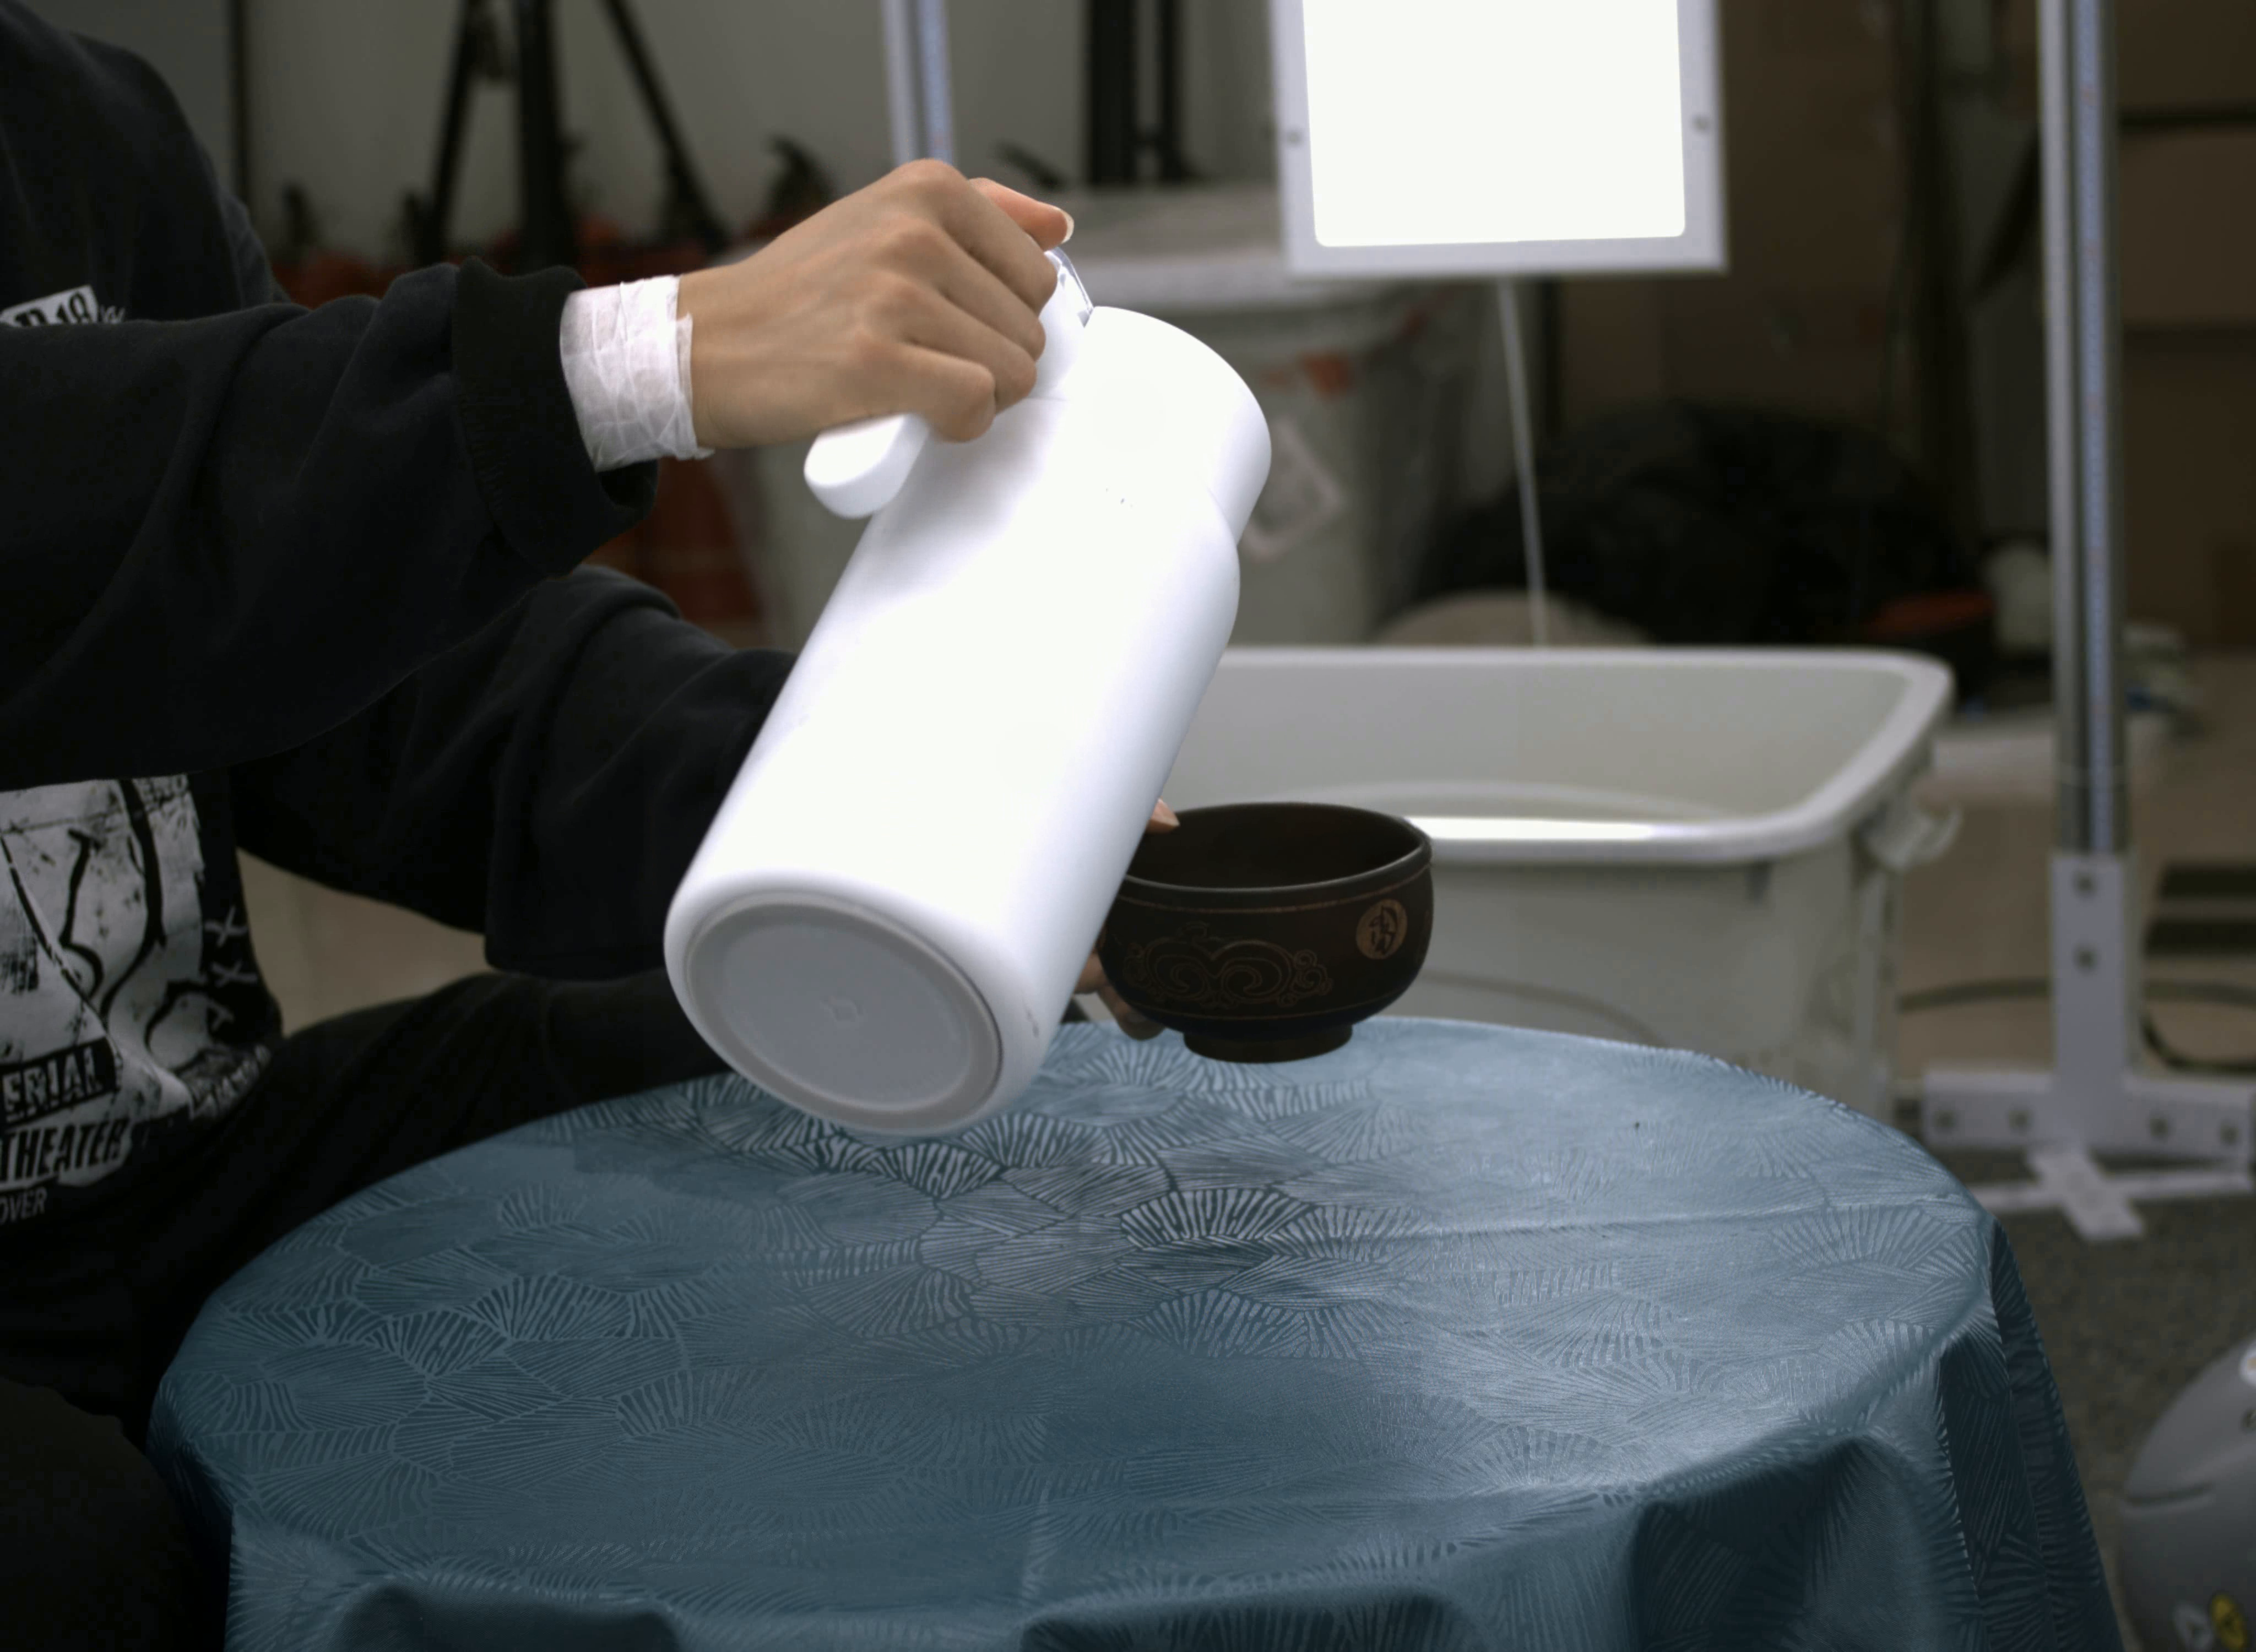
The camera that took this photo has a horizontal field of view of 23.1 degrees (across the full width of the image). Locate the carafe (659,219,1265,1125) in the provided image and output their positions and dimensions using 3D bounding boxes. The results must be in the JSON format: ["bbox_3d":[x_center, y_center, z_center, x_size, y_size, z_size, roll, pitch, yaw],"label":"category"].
[{"bbox_3d":[-0.048,-0.053,1.661,0.126,0.172,0.265,-3,42,31],"label":"carafe"}]

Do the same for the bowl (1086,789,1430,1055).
[{"bbox_3d":[0.044,0.036,1.847,0.118,0.070,0.118,-5,15,0],"label":"bowl"}]
